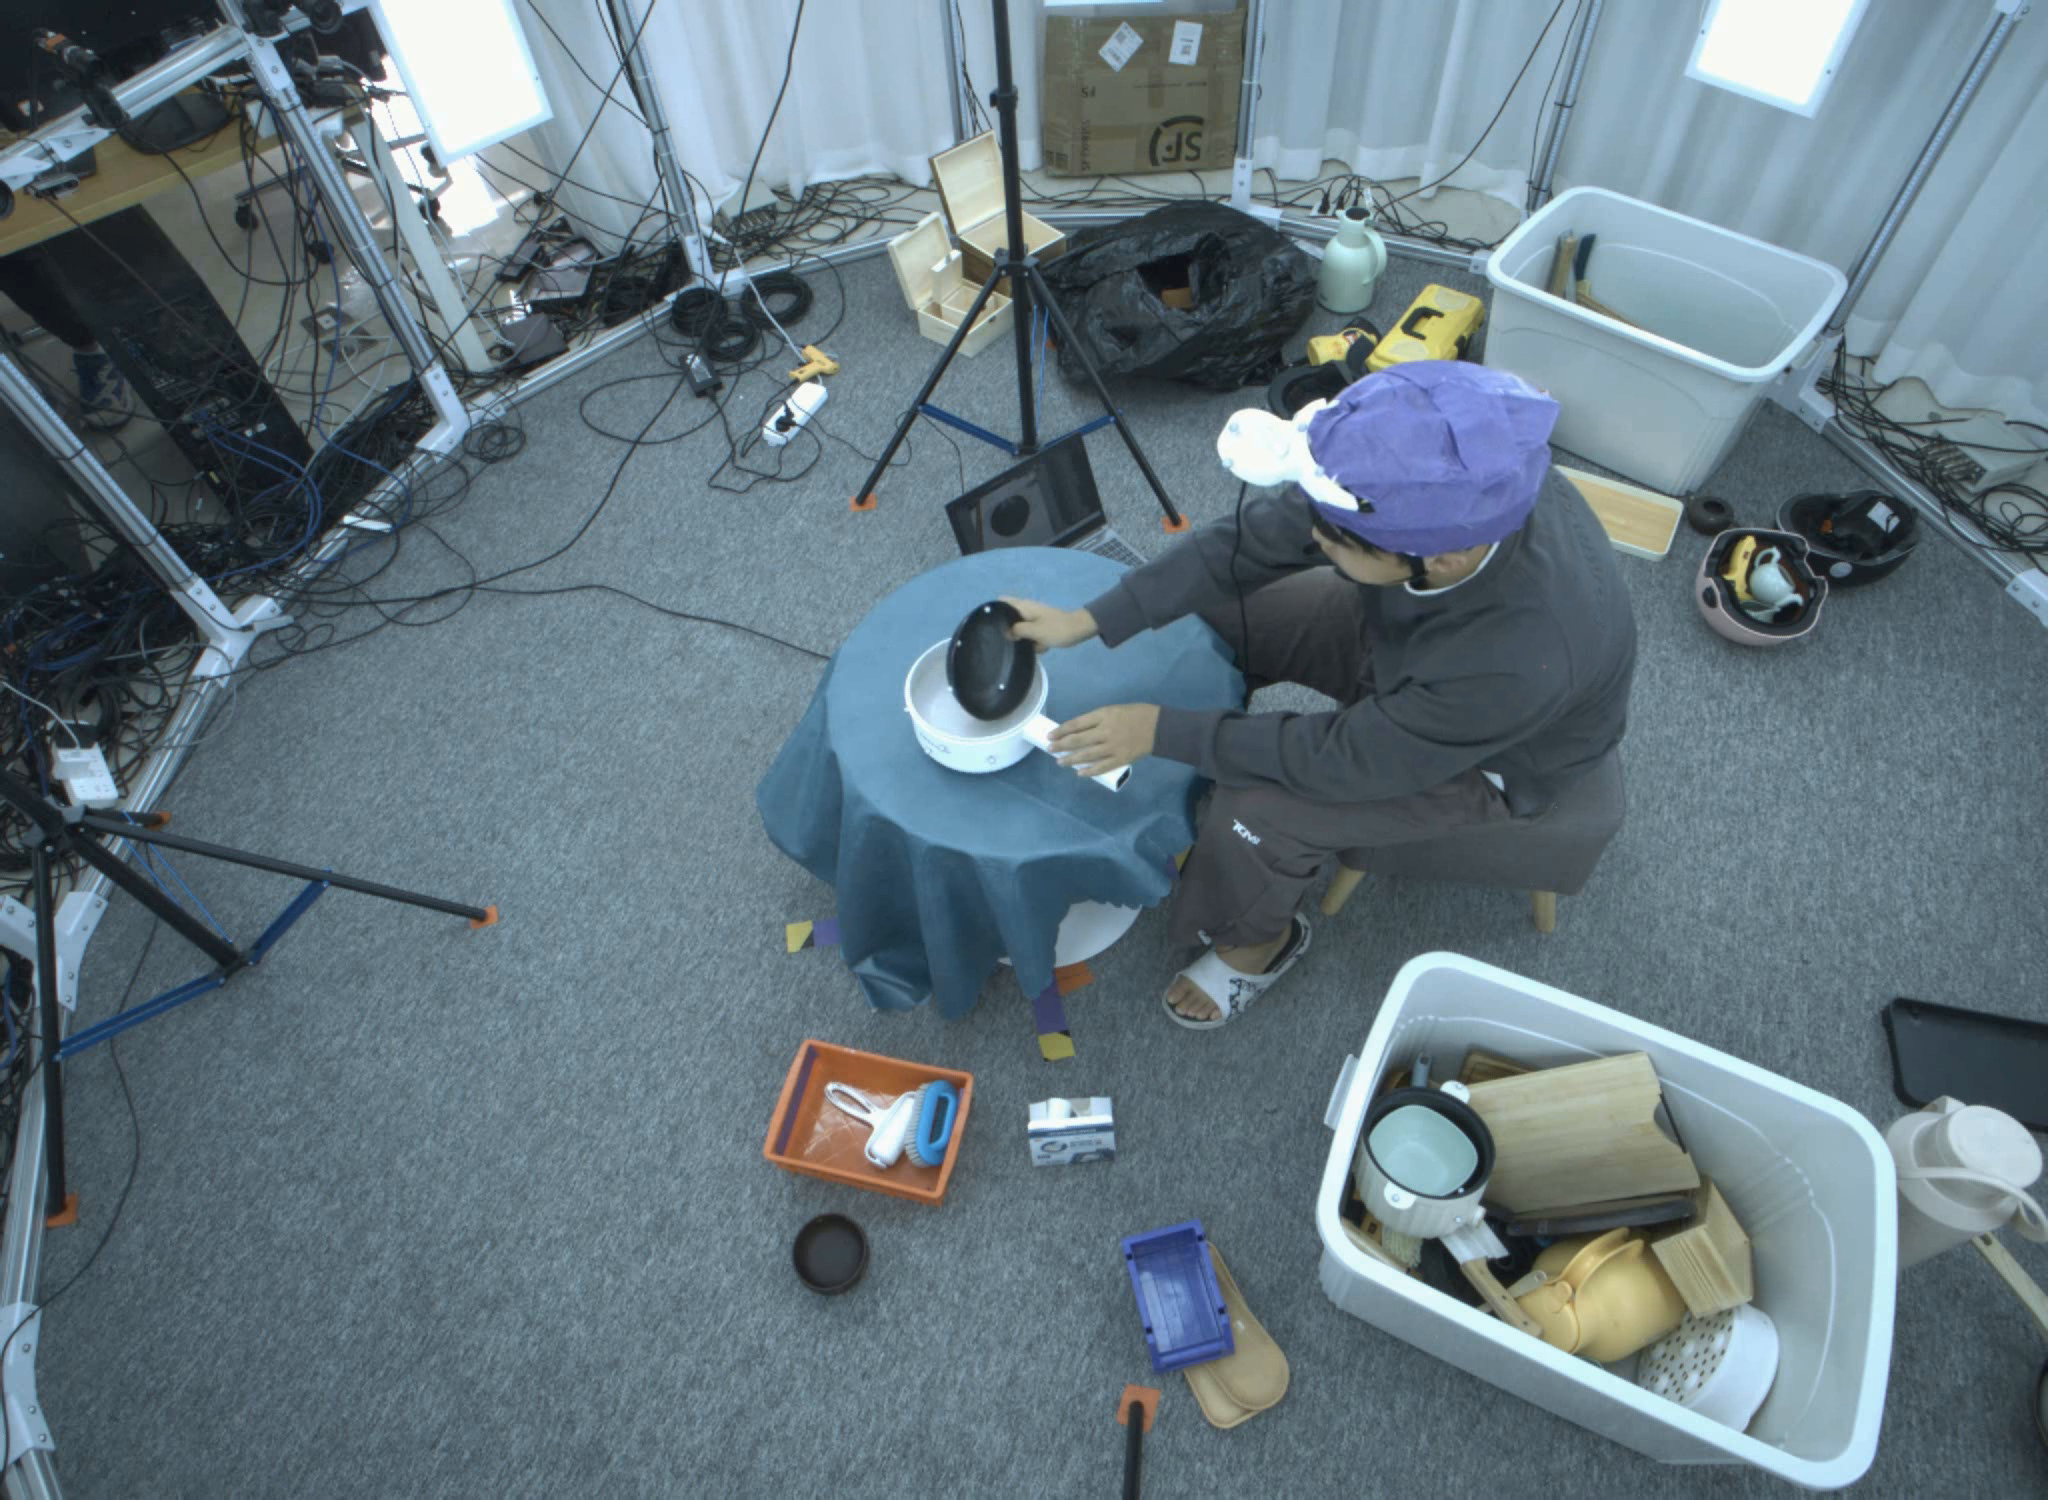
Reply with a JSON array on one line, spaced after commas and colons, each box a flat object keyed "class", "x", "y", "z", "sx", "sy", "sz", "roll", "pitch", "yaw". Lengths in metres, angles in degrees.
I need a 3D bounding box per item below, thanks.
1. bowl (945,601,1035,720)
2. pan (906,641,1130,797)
[{"class": "bowl", "x": -0.058, "y": -0.126, "z": 1.716, "sx": 0.140, "sy": 0.065, "sz": 0.170, "roll": 16, "pitch": 84, "yaw": -35}, {"class": "pan", "x": -0.006, "y": -0.022, "z": 1.753, "sx": 0.350, "sy": 0.103, "sz": 0.202, "roll": 32, "pitch": 58, "yaw": 18}]
